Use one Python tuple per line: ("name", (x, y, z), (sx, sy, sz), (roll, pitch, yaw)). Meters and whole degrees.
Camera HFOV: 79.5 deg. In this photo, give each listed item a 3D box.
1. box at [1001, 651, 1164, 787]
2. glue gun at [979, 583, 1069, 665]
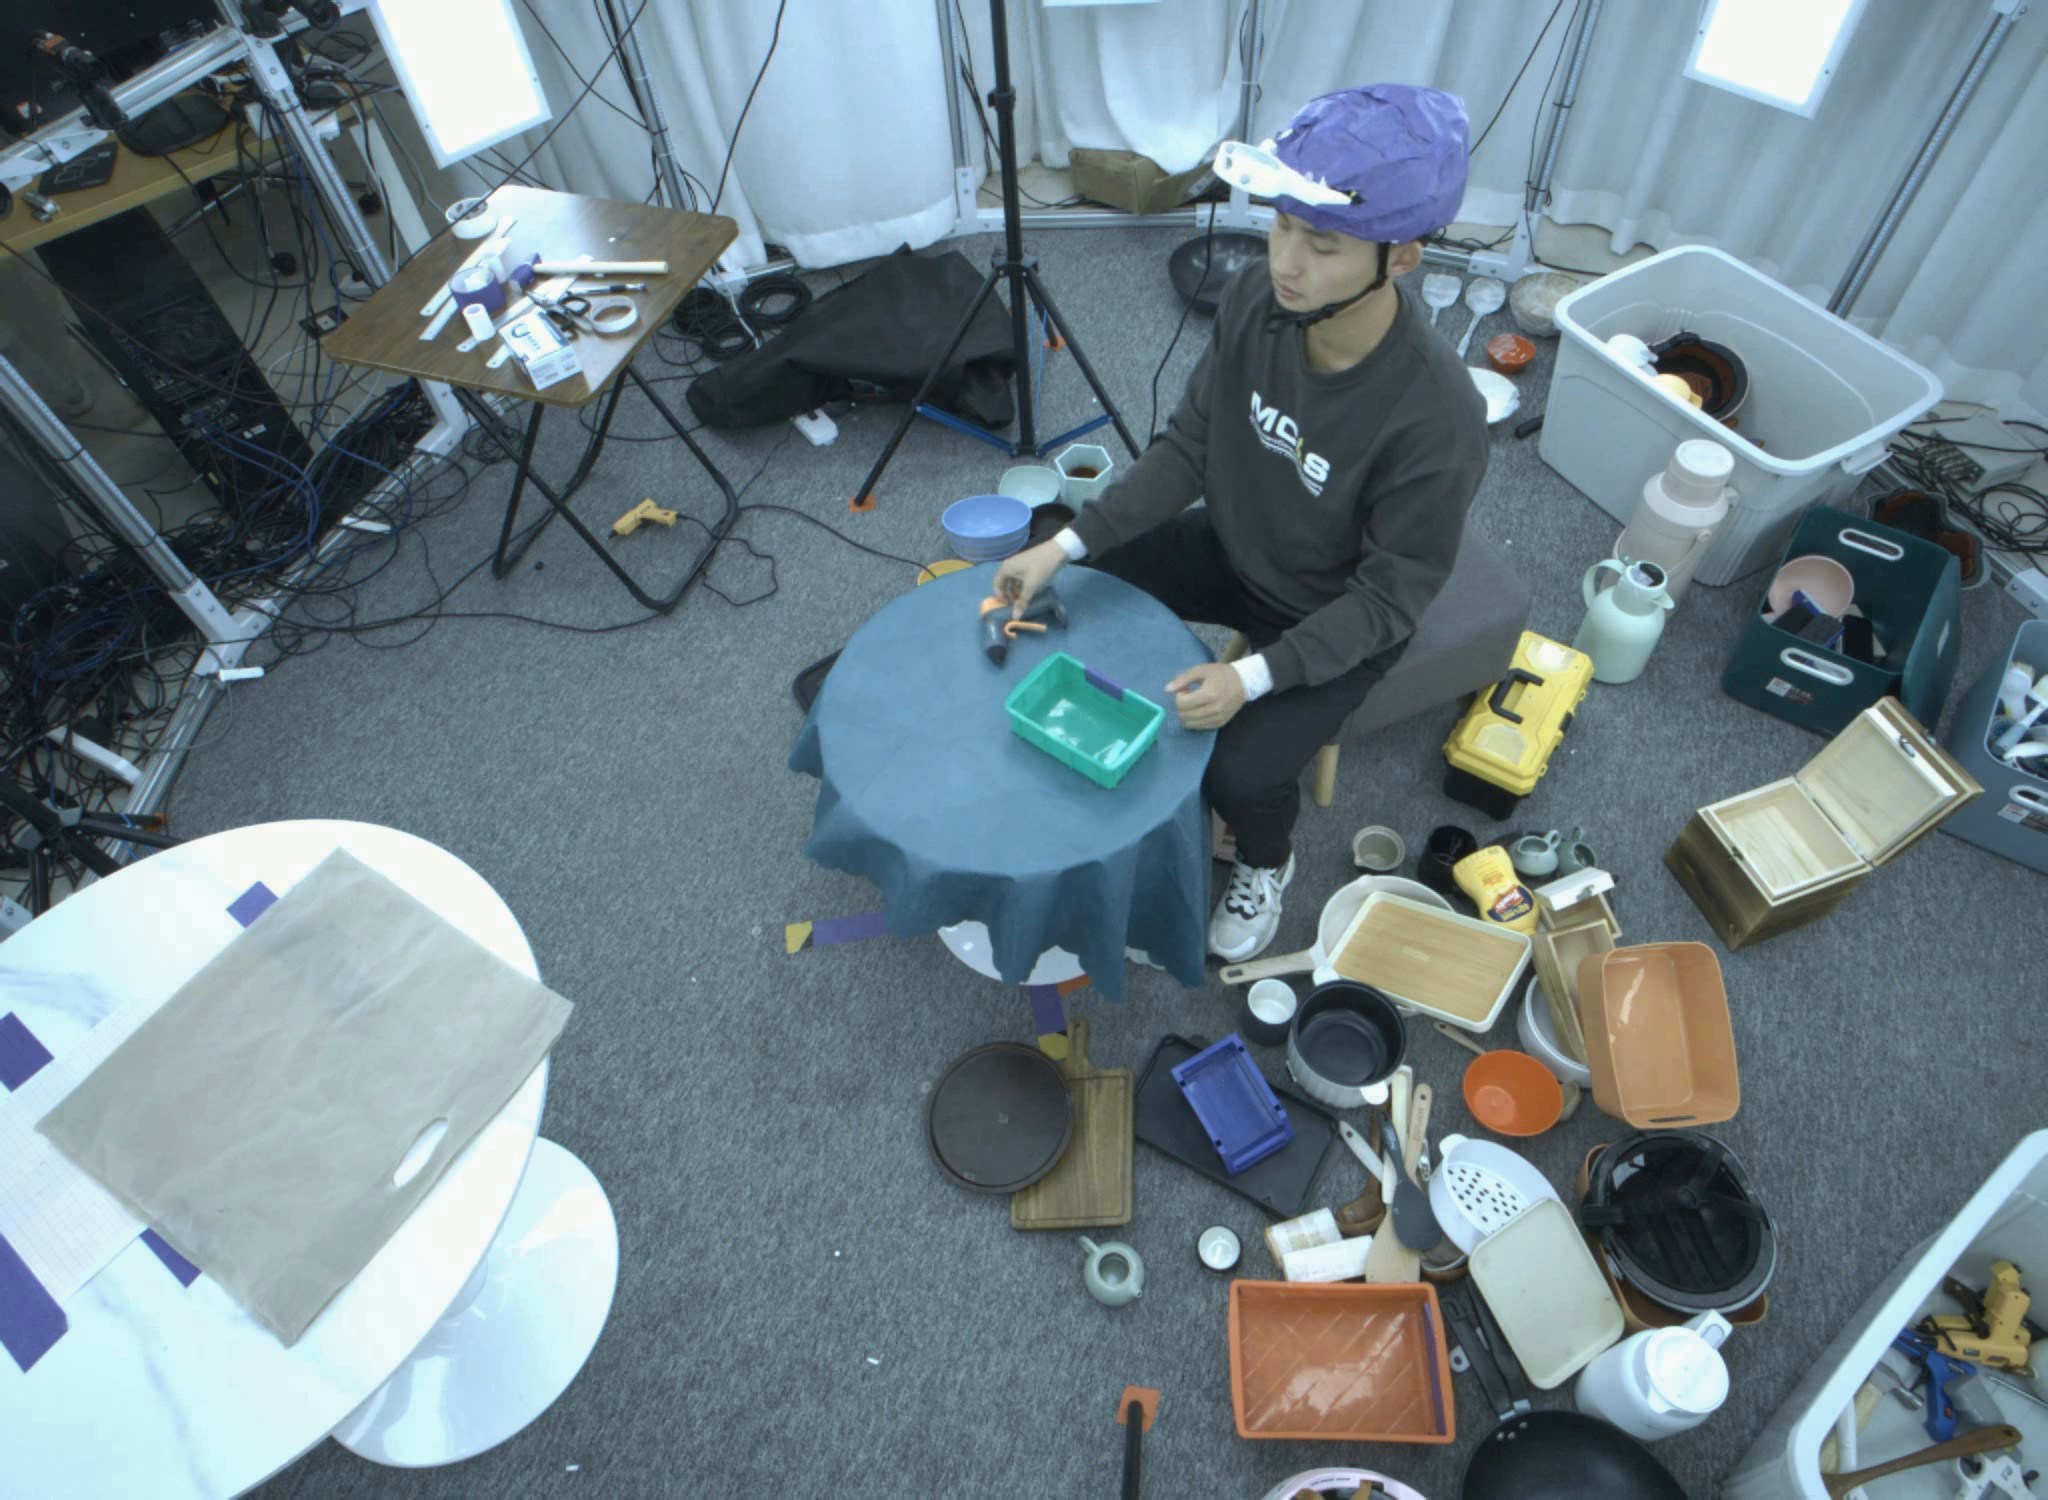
("box", (0.084, -0.042, 1.775), (0.207, 0.066, 0.139), (30, 60, 24))
("glue gun", (-0.006, -0.198, 1.908), (0.140, 0.041, 0.116), (-23, 62, -11))
